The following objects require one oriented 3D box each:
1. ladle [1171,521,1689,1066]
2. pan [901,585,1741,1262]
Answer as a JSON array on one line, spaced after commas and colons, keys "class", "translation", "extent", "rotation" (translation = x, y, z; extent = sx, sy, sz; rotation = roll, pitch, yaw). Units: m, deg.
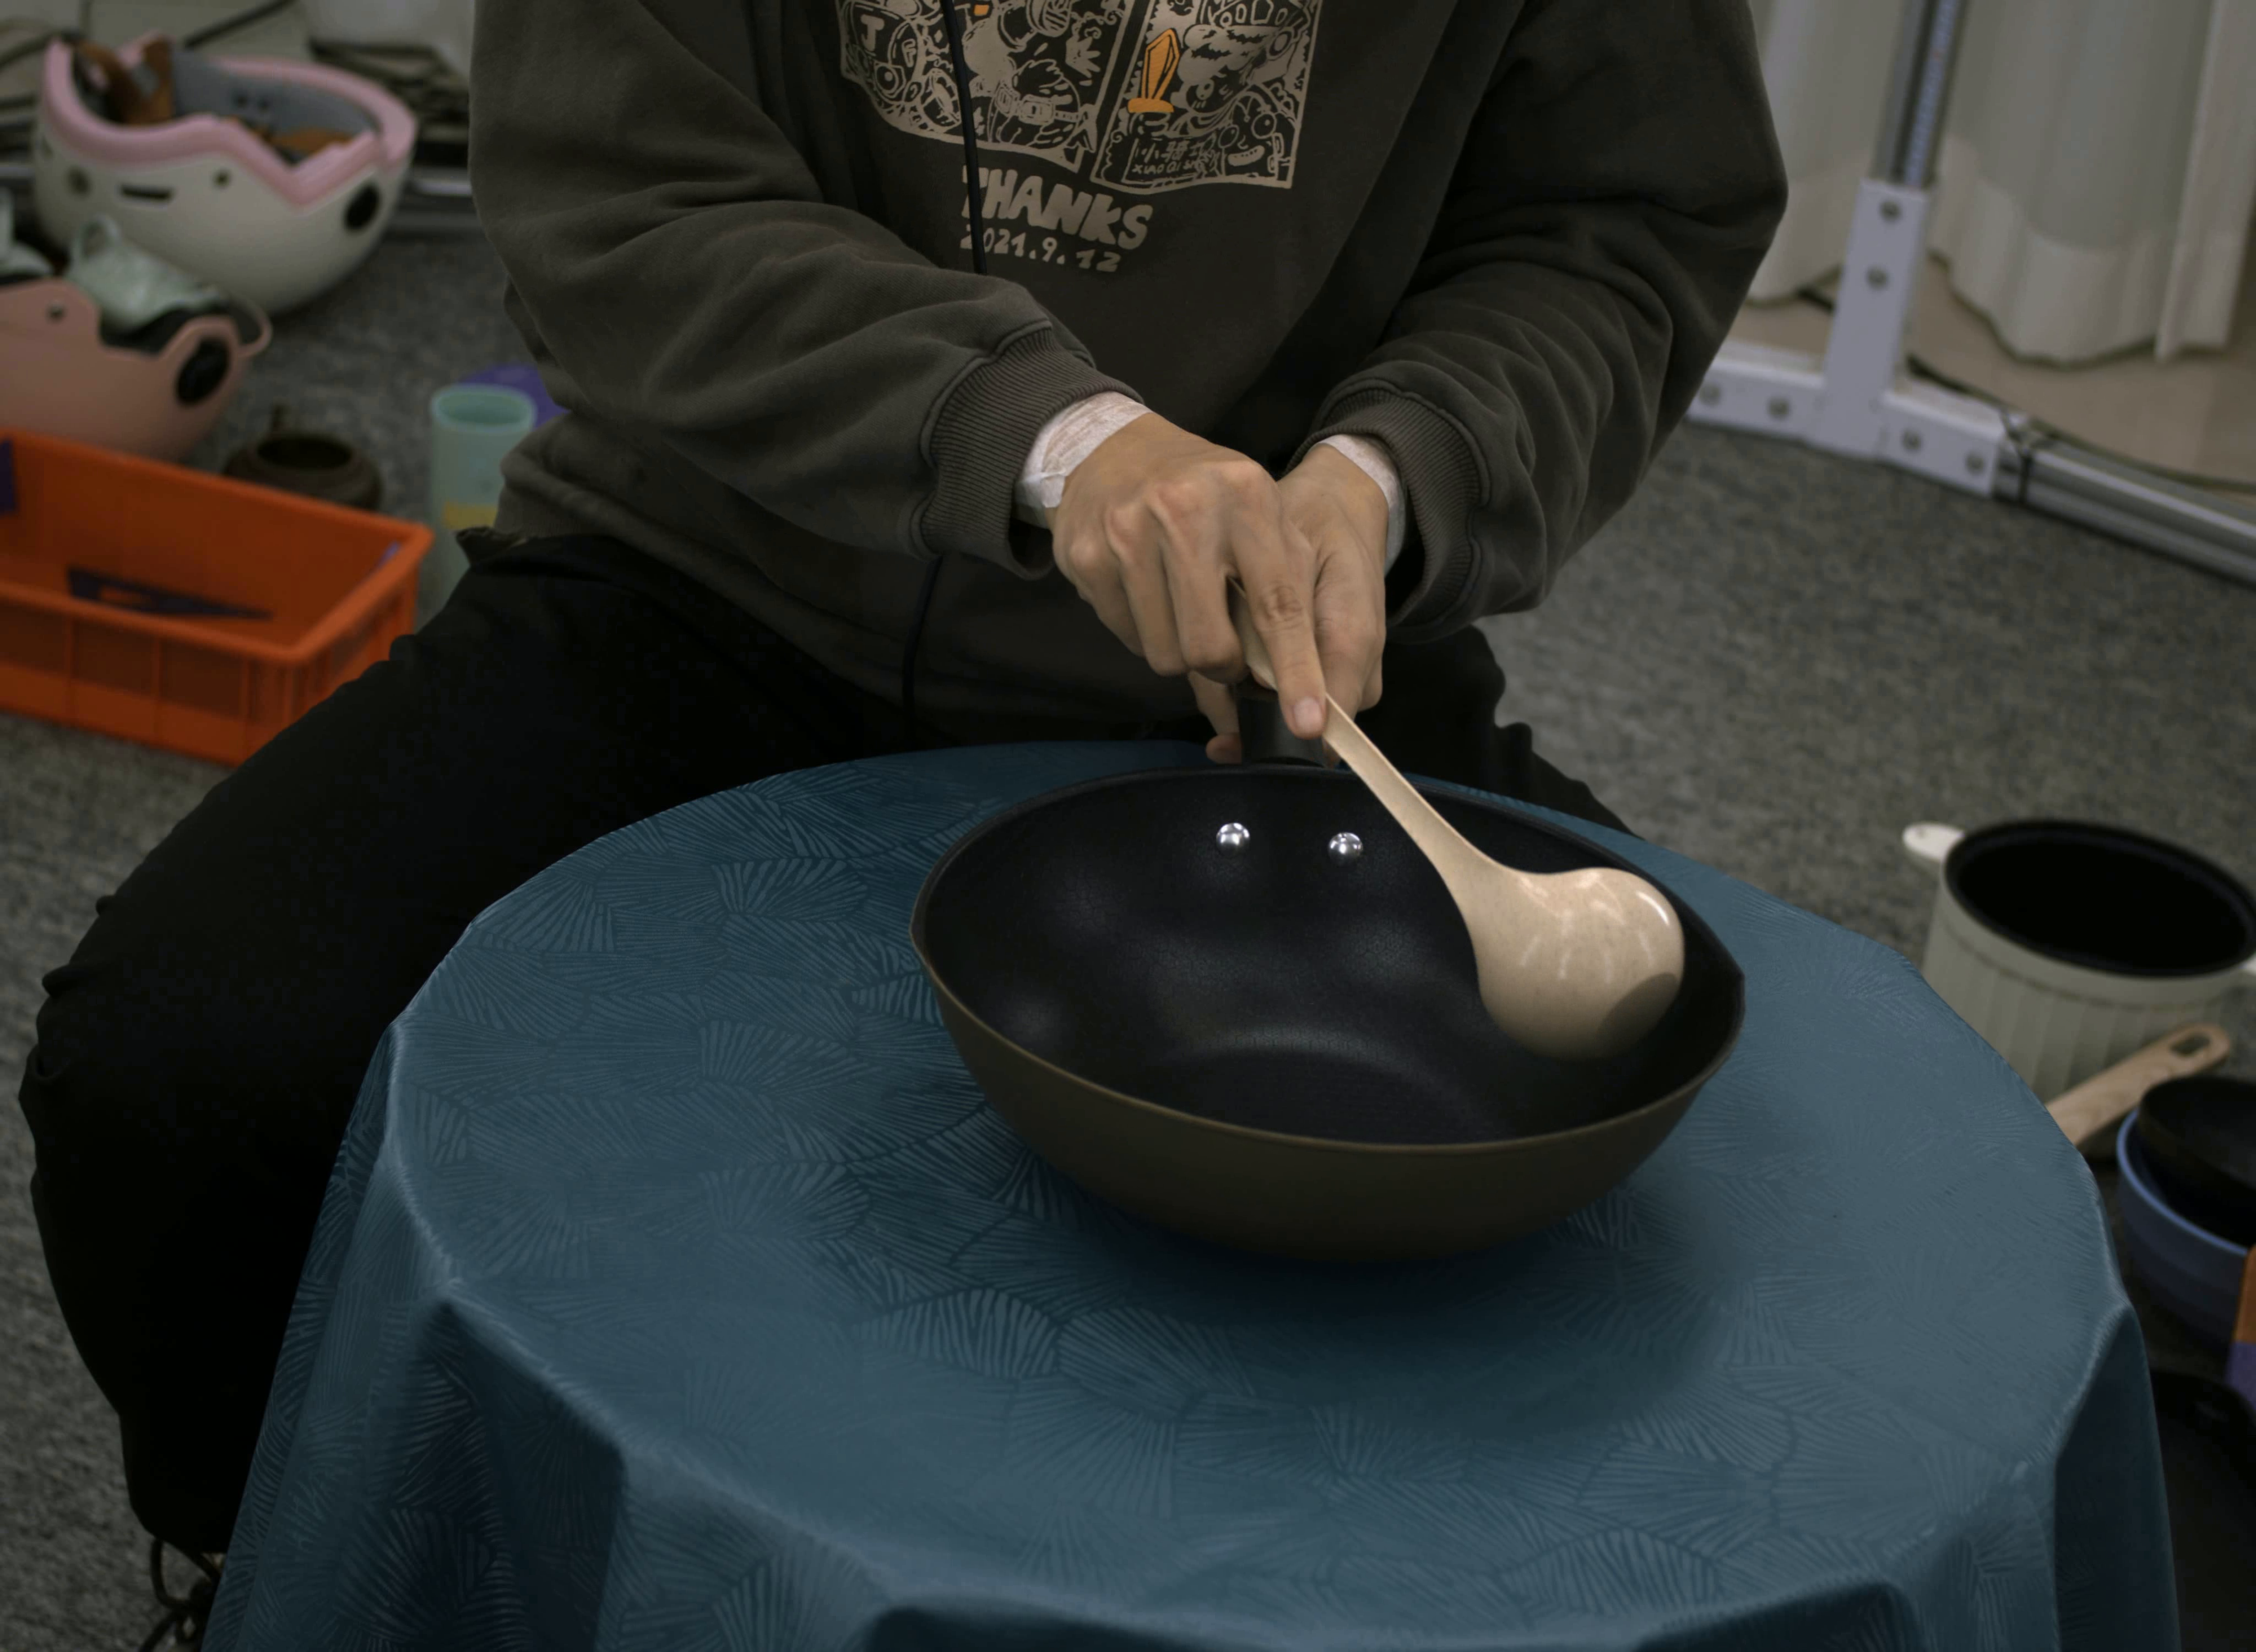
[{"class": "ladle", "translation": [0.105, -0.017, 1.880], "extent": [0.072, 0.072, 0.257], "rotation": [13, 32, -50]}, {"class": "pan", "translation": [0.057, 0.035, 1.902], "extent": [0.287, 0.086, 0.466], "rotation": [4, 25, -5]}]
